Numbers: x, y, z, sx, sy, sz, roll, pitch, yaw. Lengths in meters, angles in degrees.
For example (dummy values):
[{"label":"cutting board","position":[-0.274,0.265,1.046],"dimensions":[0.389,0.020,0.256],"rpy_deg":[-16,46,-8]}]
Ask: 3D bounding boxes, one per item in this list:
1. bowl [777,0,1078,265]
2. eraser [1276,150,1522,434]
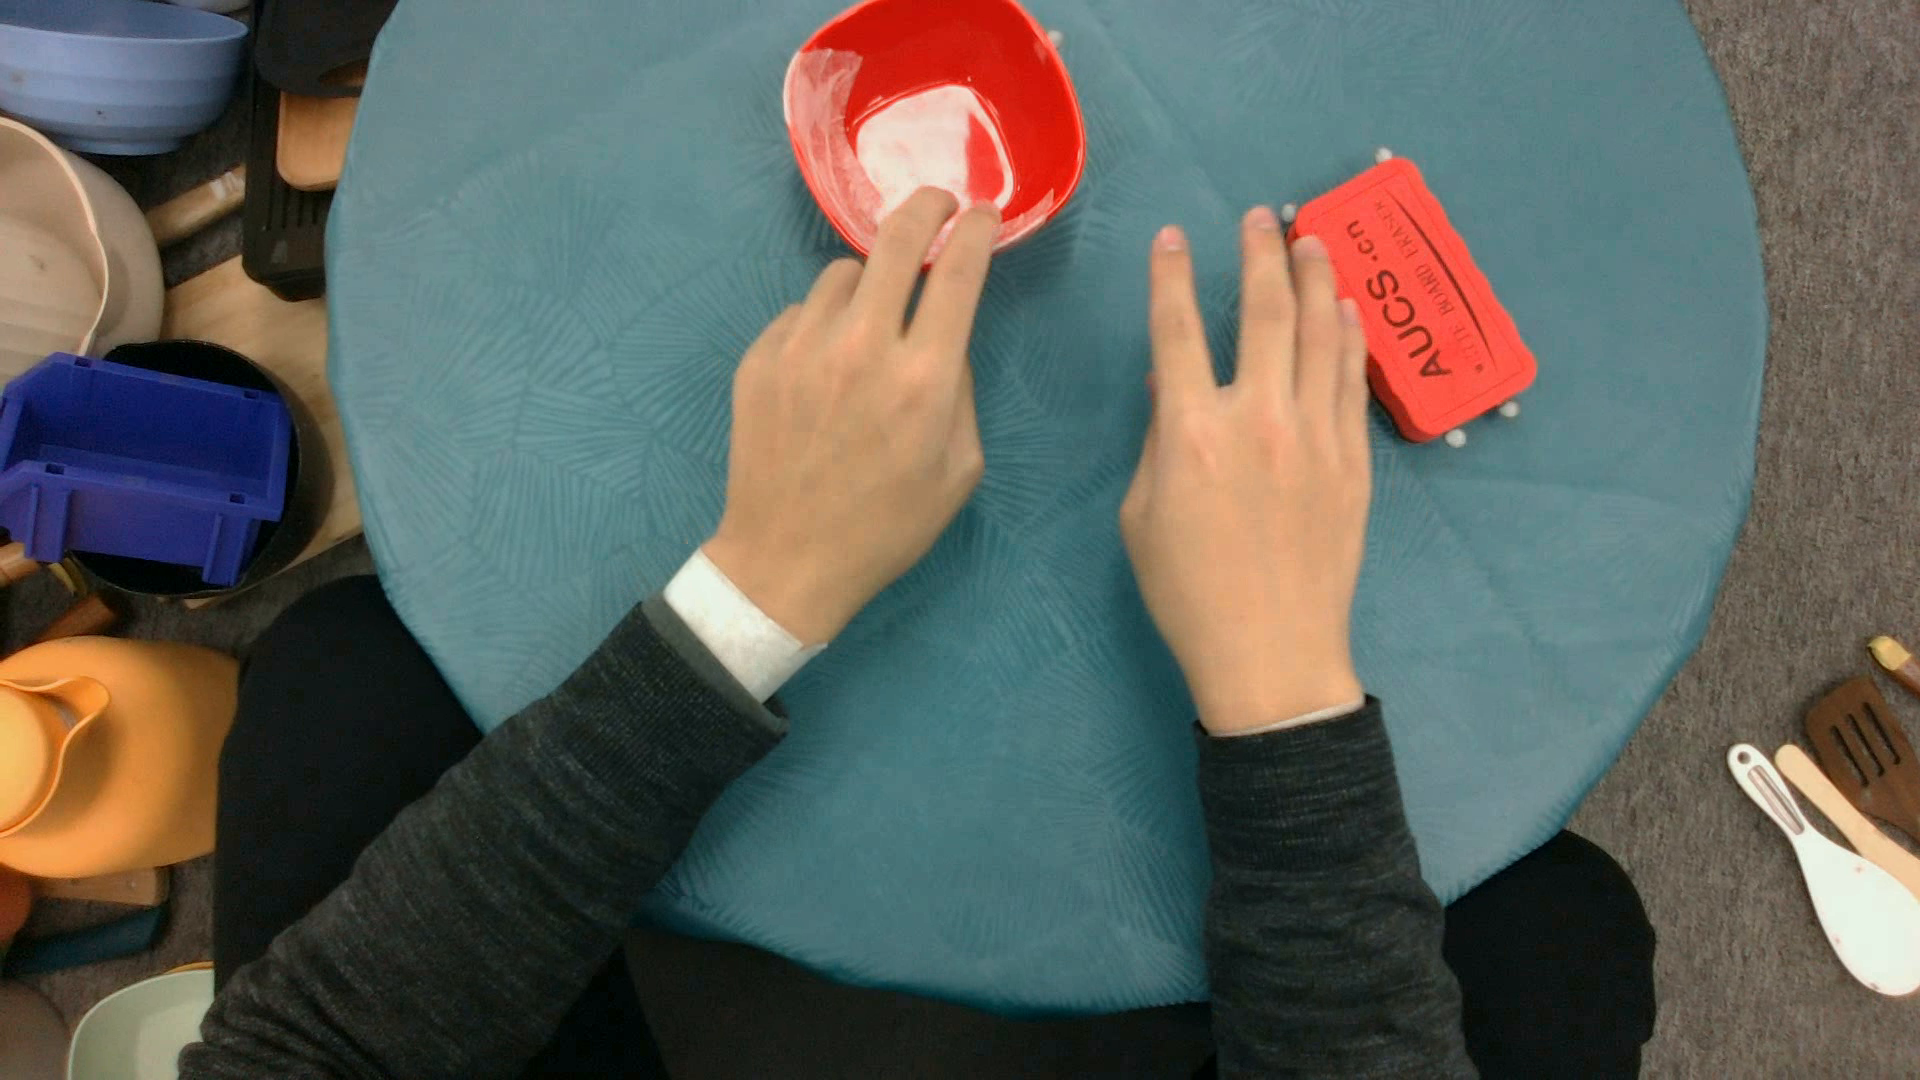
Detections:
[{"label":"bowl","position":[-0.014,-0.161,0.553],"dimensions":[0.119,0.051,0.119],"rpy_deg":[0,83,-4]},{"label":"eraser","position":[0.181,-0.103,0.569],"dimensions":[0.059,0.023,0.108],"rpy_deg":[-29,86,-4]}]
